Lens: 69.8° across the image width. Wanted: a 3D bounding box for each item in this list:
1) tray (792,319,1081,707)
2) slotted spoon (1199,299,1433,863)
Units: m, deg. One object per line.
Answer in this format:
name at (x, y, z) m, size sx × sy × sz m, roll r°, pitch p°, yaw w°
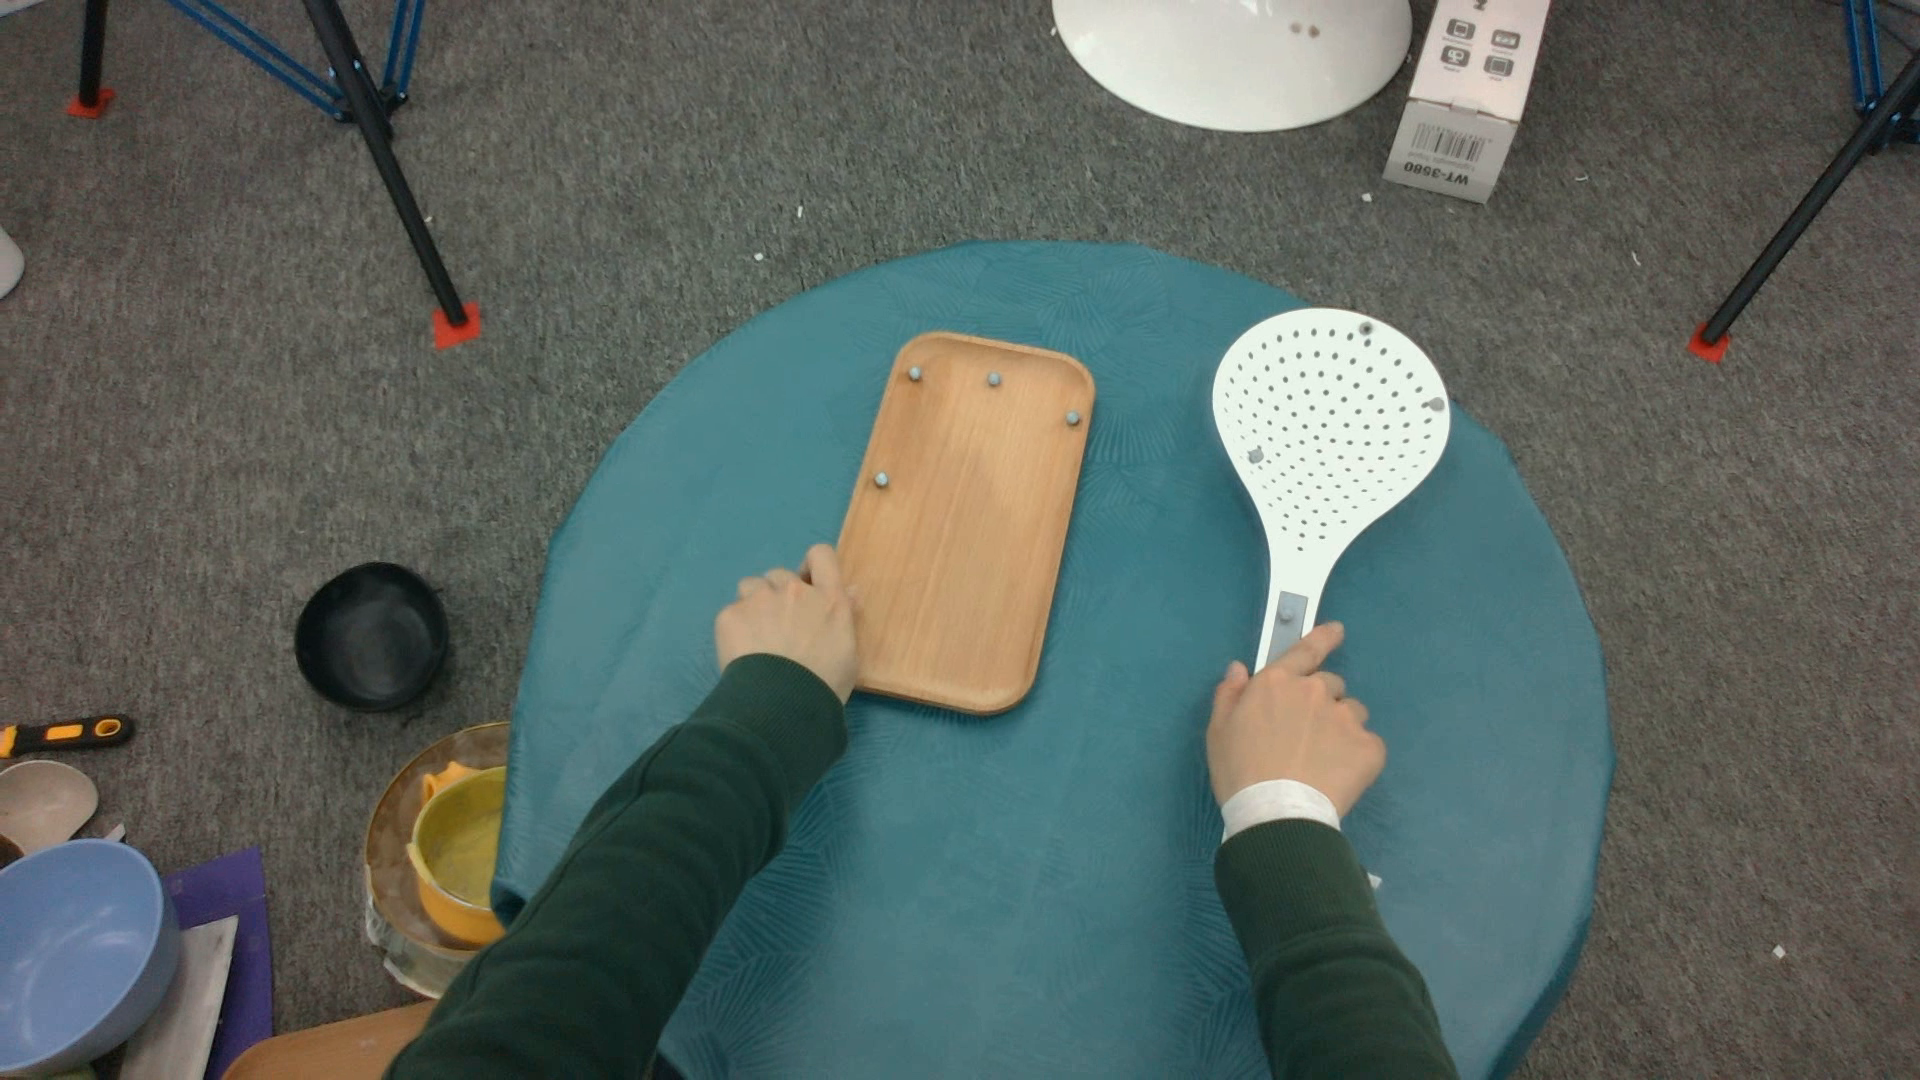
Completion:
tray at (-0.009, -0.023, 0.804) m, size 0.130 × 0.023 × 0.252 m, roll 11°, pitch 60°, yaw 7°
slotted spoon at (0.182, 0.011, 0.774) m, size 0.136 × 0.045 × 0.351 m, roll 13°, pitch 60°, yaw 8°
